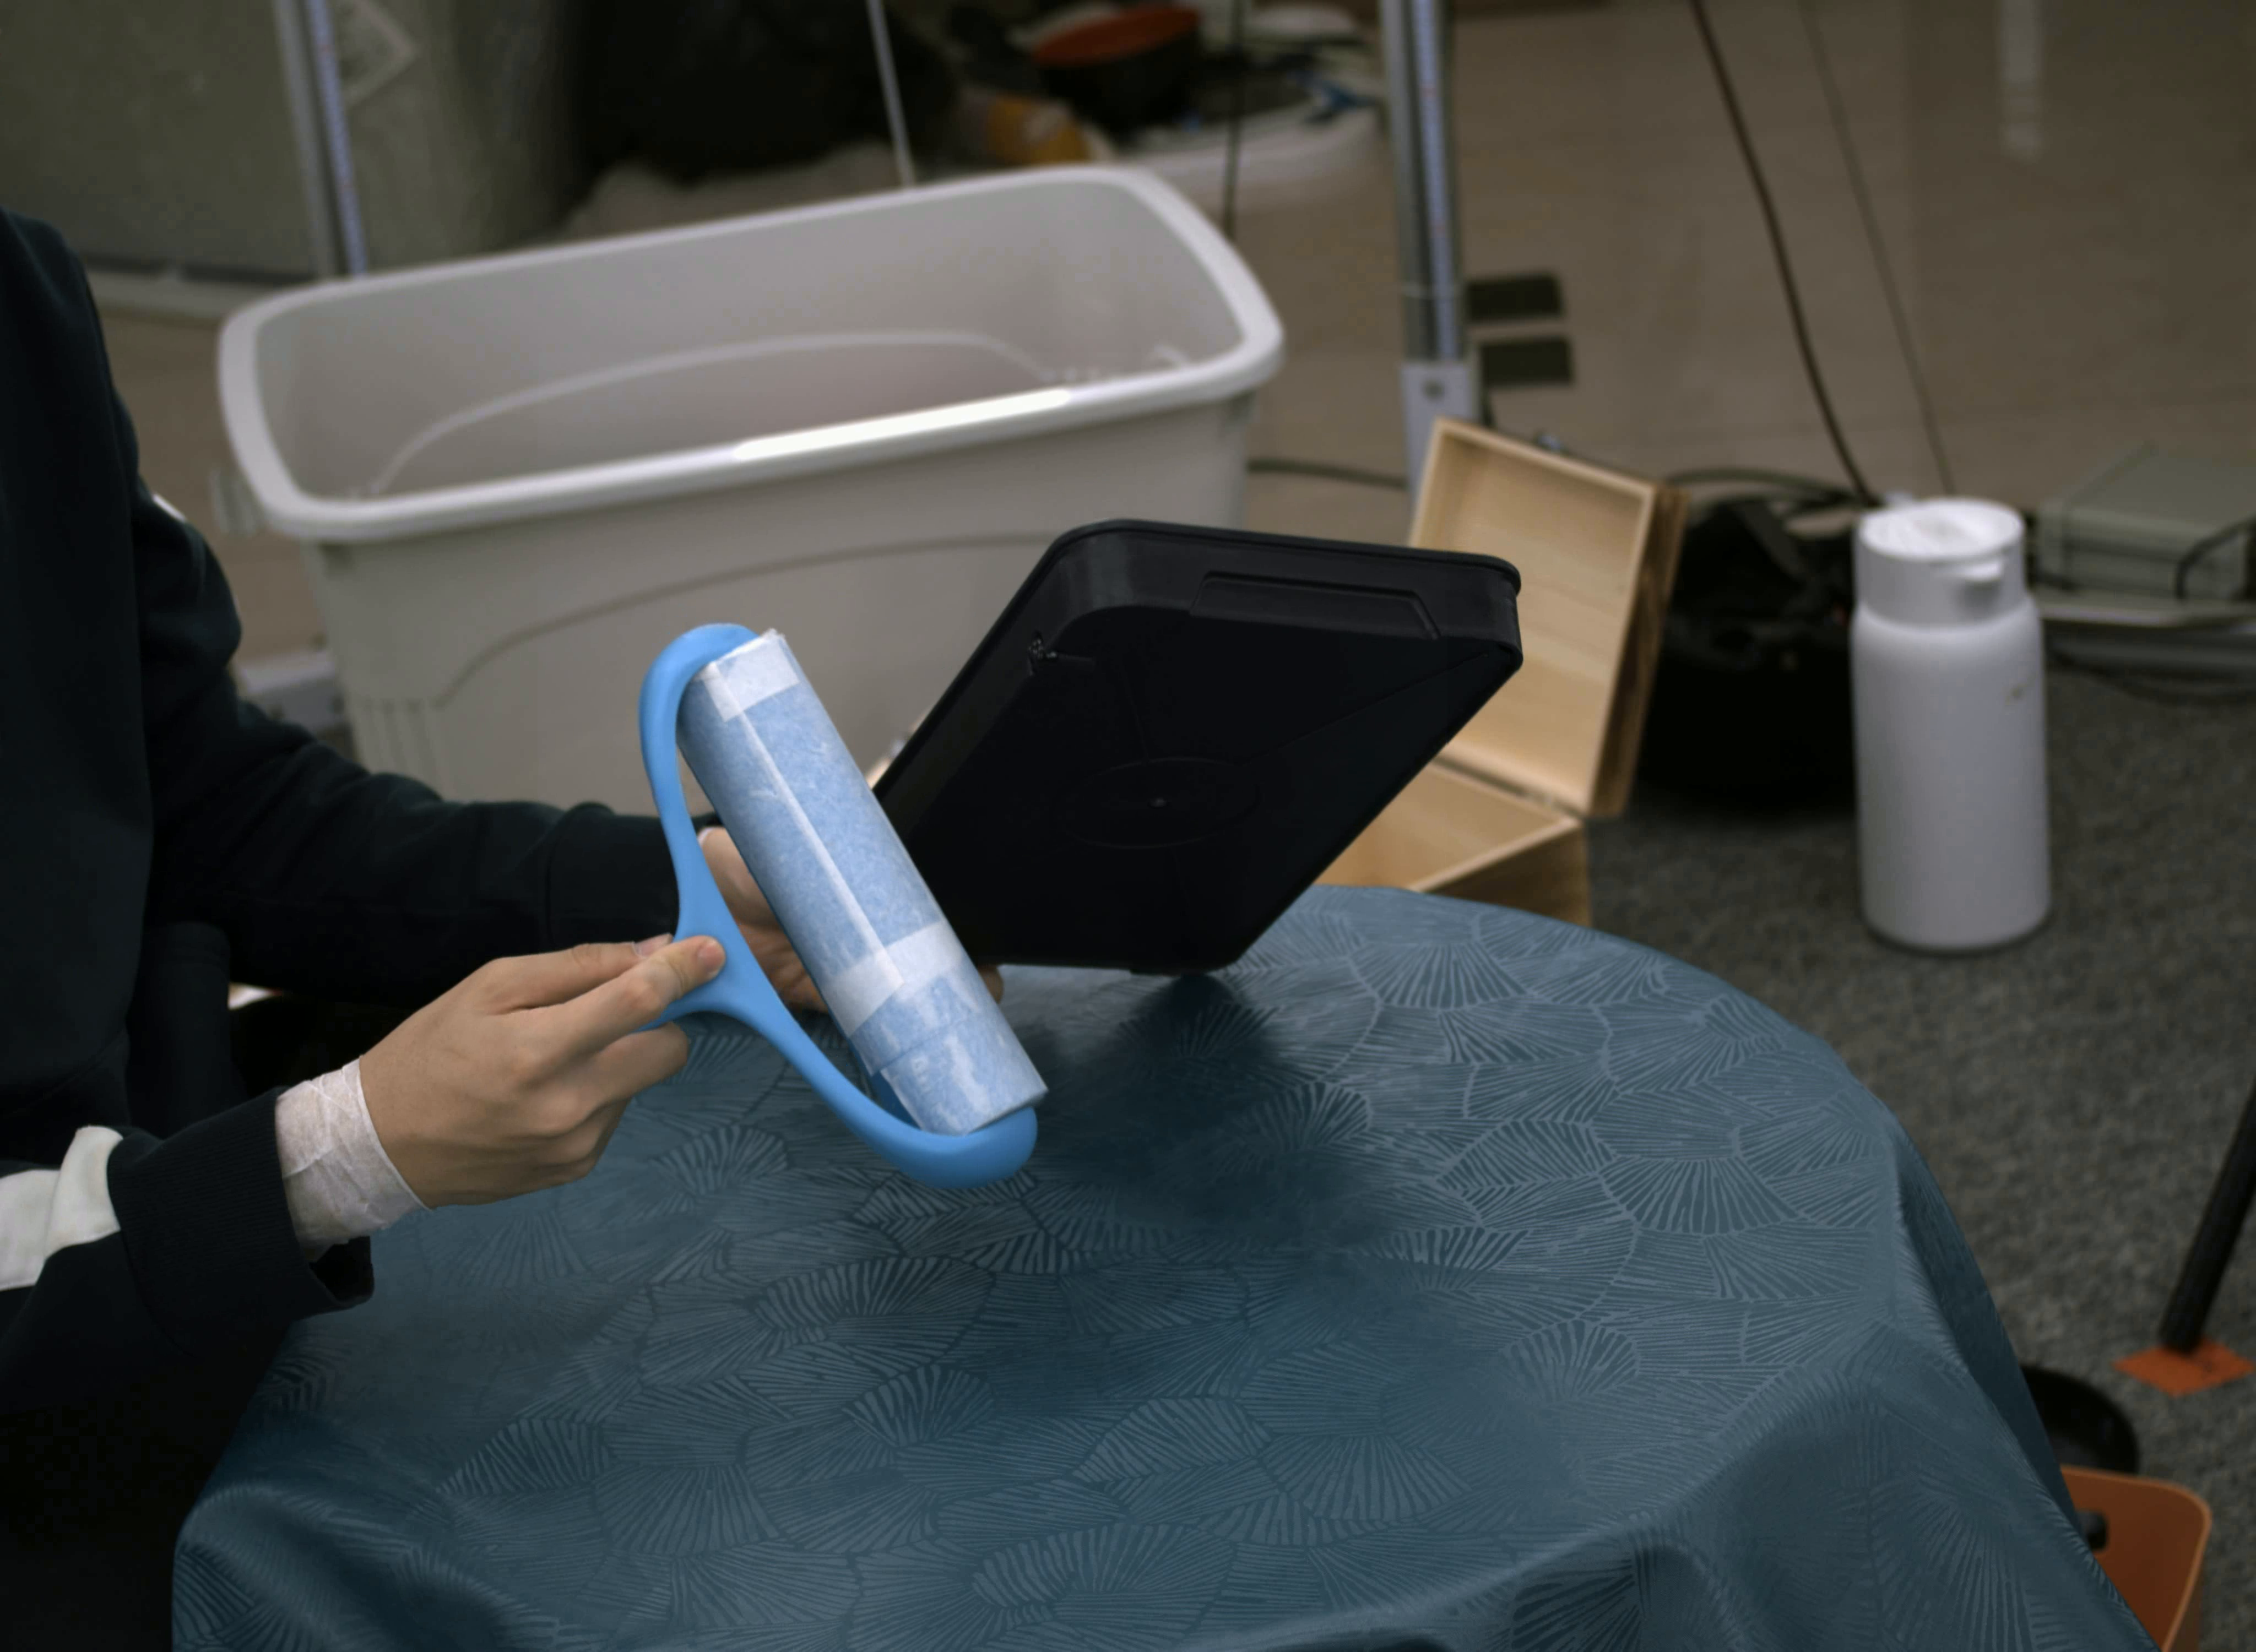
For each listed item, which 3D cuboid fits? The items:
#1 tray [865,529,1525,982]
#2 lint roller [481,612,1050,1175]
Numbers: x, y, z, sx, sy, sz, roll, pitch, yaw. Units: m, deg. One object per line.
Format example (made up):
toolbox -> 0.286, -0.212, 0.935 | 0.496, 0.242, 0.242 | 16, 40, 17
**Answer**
tray -> 0.008, -0.020, 2.156 | 0.184, 0.322, 0.036 | 4, 65, -23
lint roller -> -0.149, 0.054, 2.025 | 0.179, 0.229, 0.068 | -33, -2, -13
